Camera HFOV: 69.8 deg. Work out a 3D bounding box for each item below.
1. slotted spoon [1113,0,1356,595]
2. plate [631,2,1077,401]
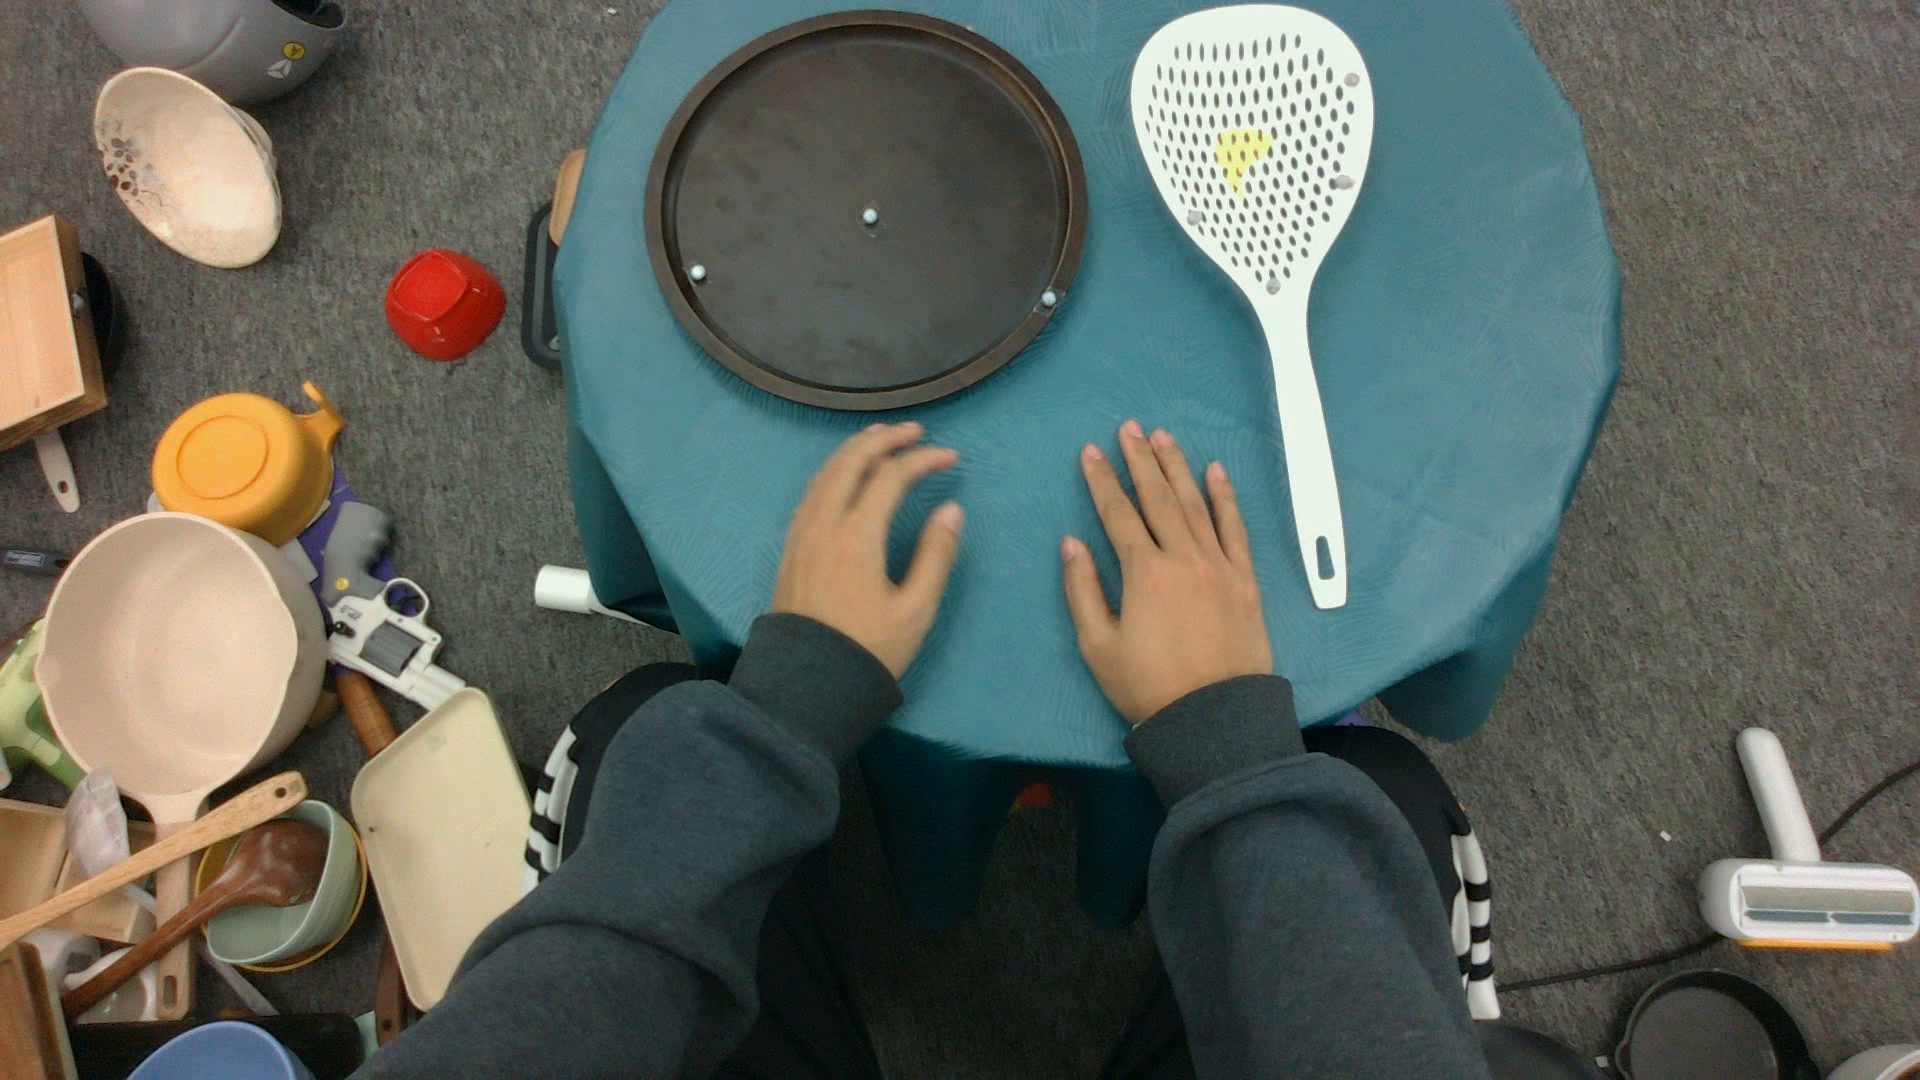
[{"bbox_3d":[0.169,-0.142,0.762,0.137,0.050,0.348,-7,74,-4],"label":"slotted spoon"},{"bbox_3d":[-0.060,-0.196,0.788,0.255,0.029,0.255,0,74,-1],"label":"plate"}]
